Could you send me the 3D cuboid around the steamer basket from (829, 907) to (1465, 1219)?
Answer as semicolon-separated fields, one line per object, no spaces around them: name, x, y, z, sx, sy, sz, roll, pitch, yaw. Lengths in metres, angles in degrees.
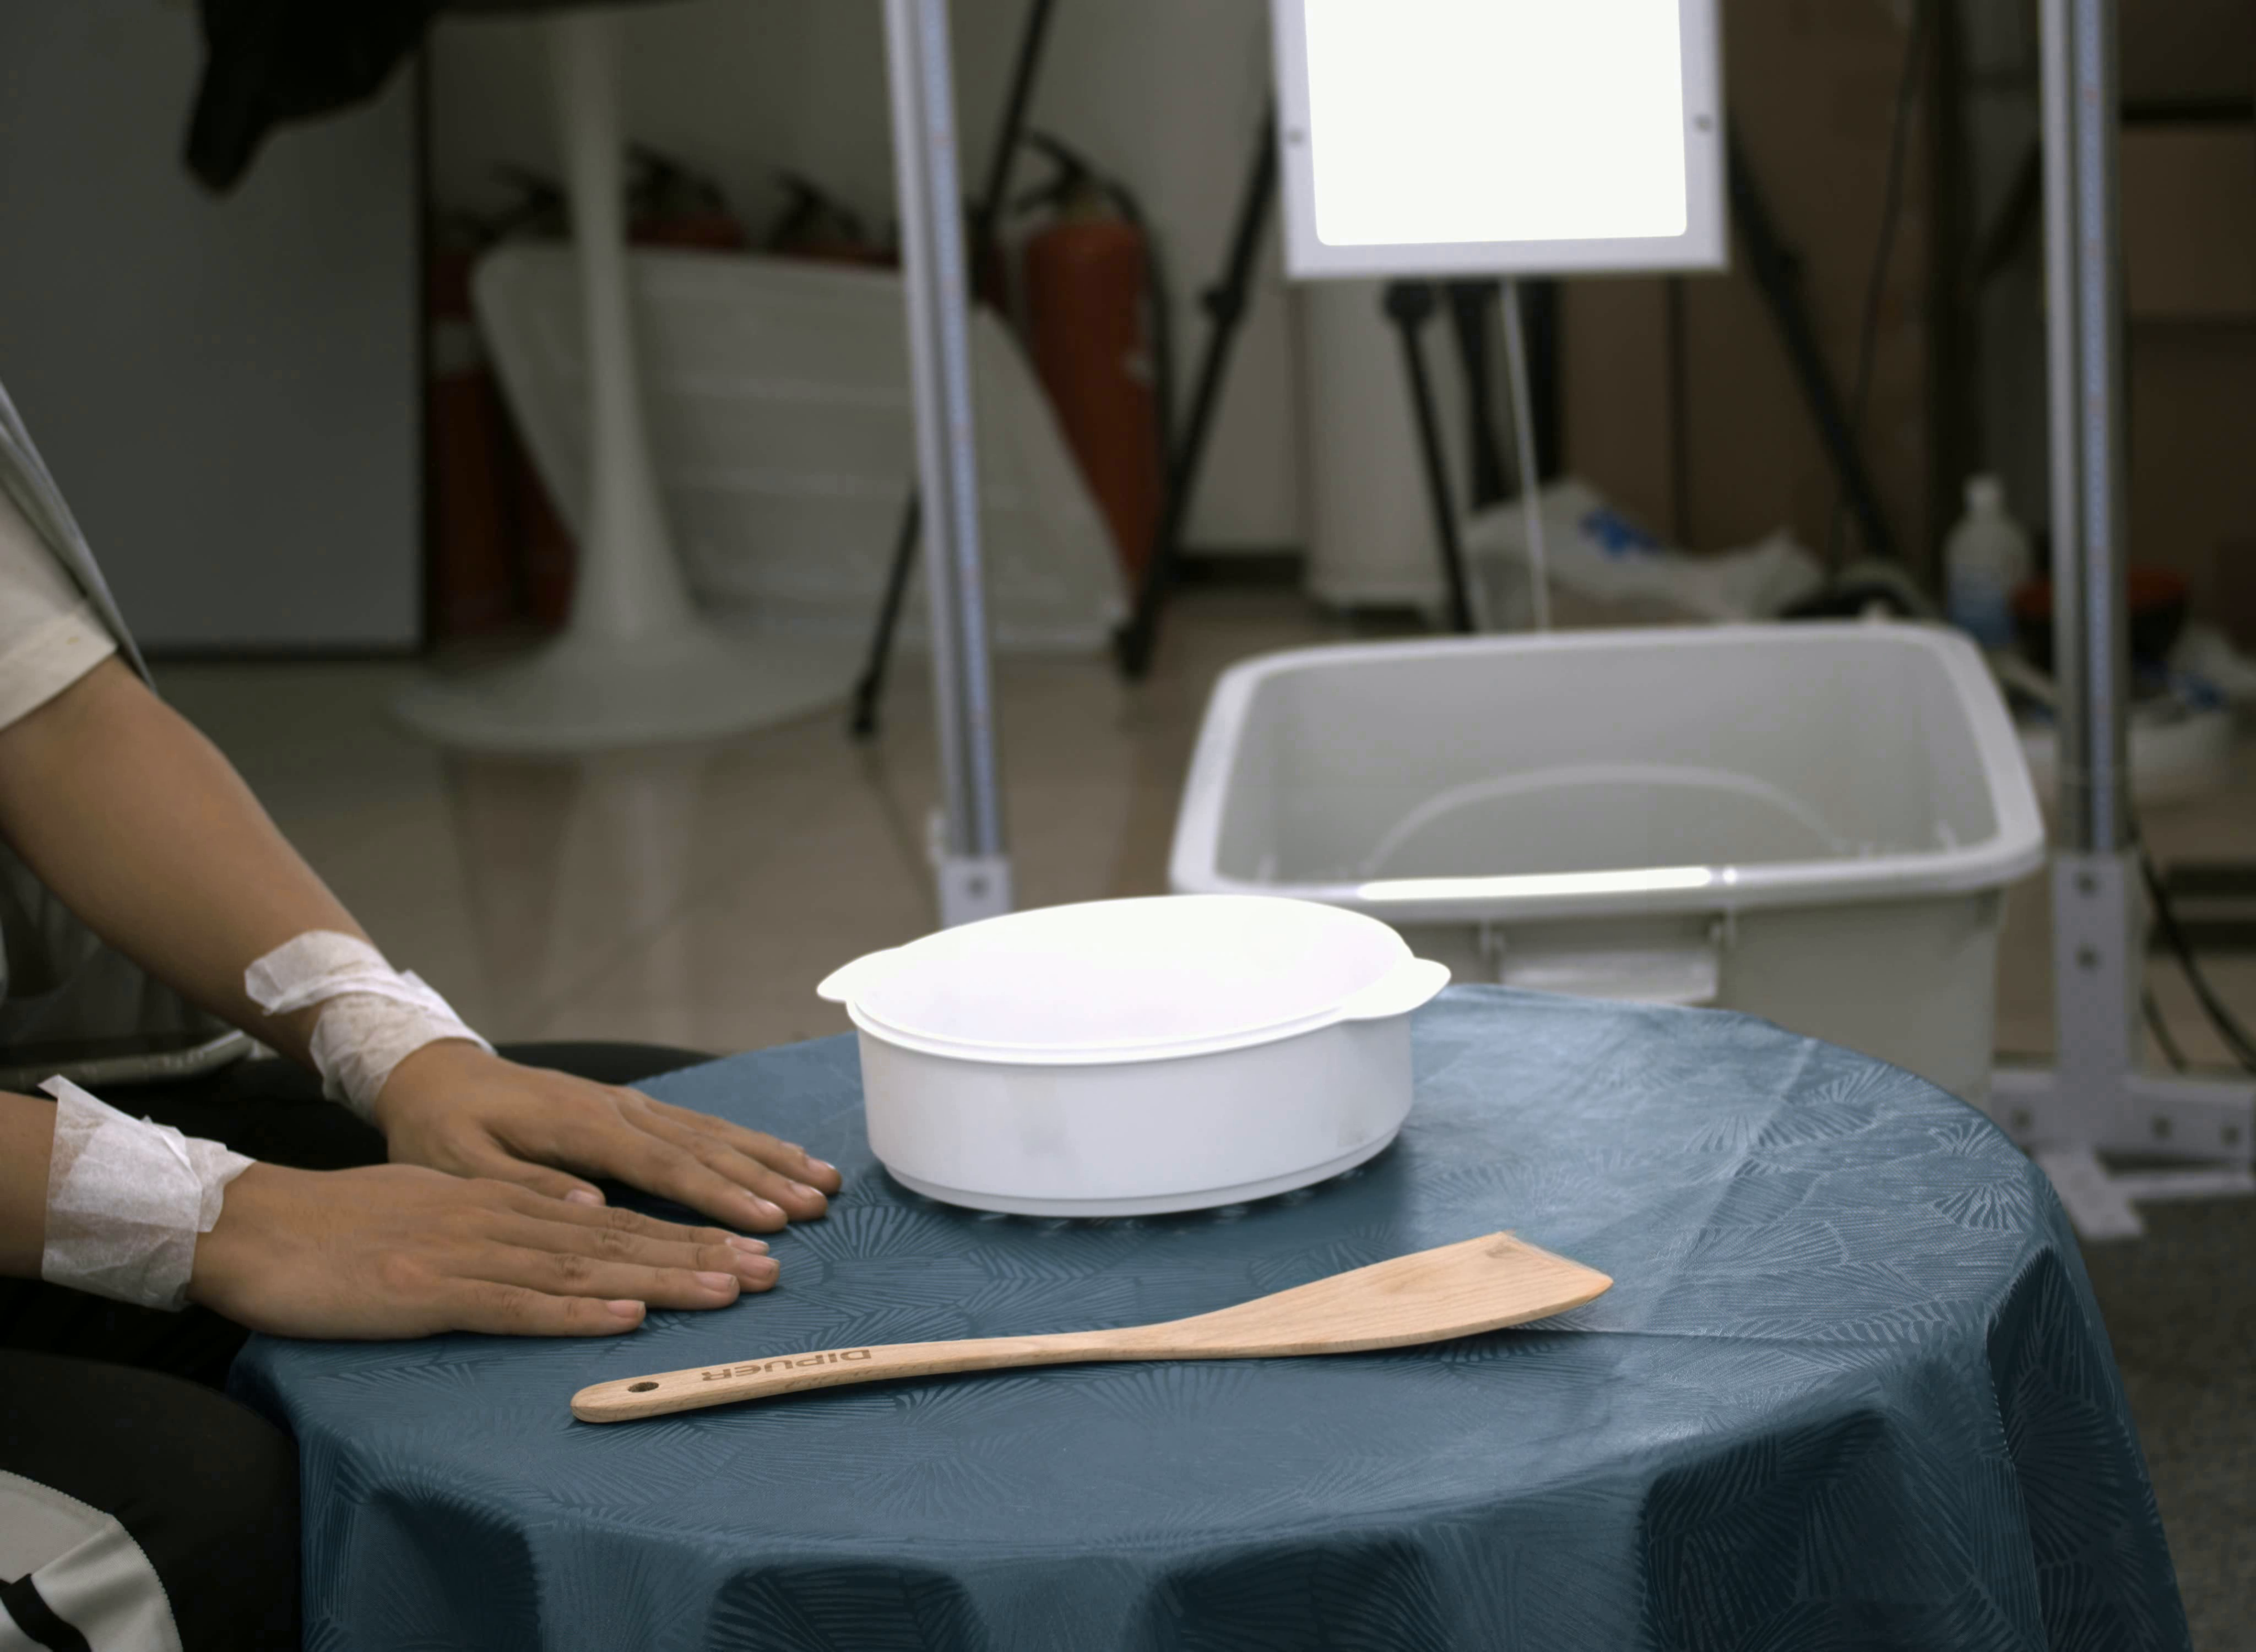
steamer basket;0.007;0.083;1.936;0.234;0.069;0.198;0;13;24

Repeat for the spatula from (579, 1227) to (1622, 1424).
spatula;-0.010;0.159;1.731;0.325;0.016;0.080;-7;13;-4
